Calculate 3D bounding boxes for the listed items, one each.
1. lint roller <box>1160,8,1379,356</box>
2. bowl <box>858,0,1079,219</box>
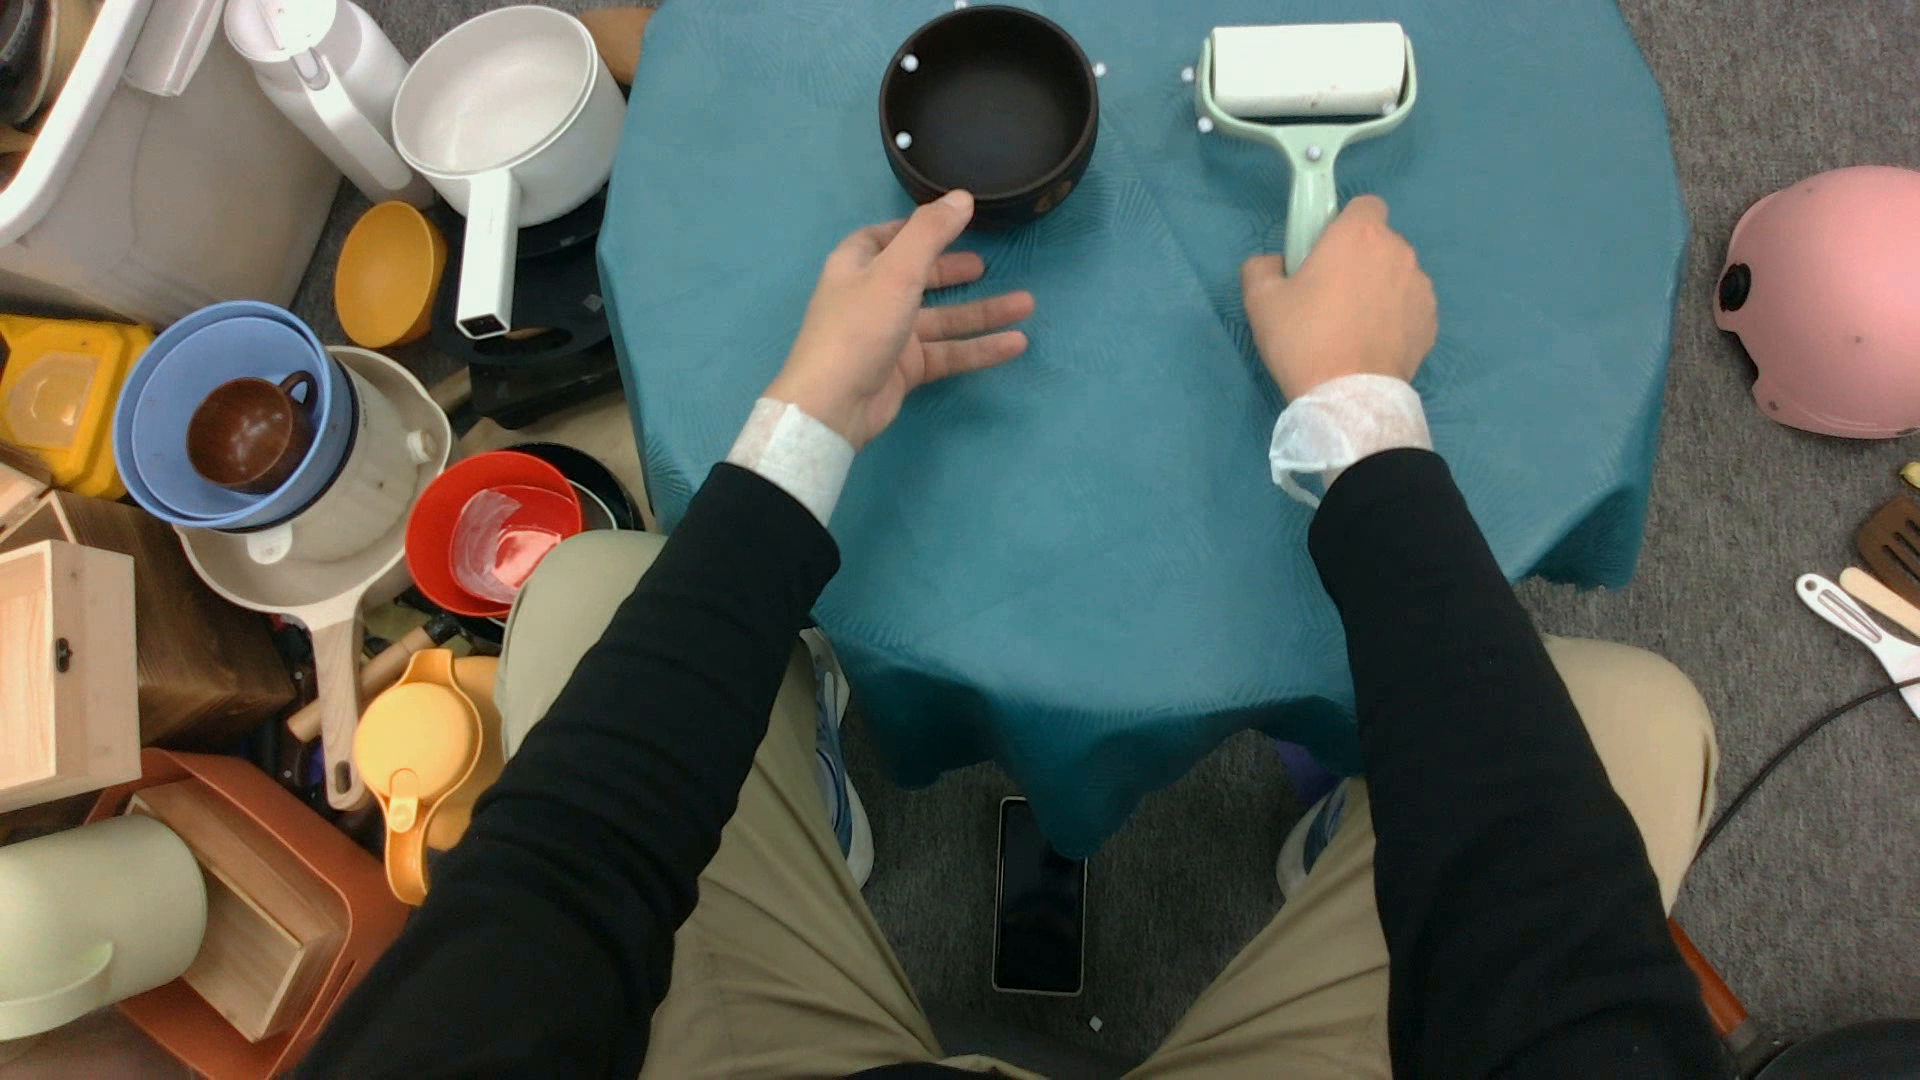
[{"bbox_3d":[0.170,-0.197,0.744,0.116,0.048,0.198,0,73,1],"label":"lint roller"},{"bbox_3d":[0.005,-0.229,0.752,0.118,0.070,0.118,0,78,1],"label":"bowl"}]
